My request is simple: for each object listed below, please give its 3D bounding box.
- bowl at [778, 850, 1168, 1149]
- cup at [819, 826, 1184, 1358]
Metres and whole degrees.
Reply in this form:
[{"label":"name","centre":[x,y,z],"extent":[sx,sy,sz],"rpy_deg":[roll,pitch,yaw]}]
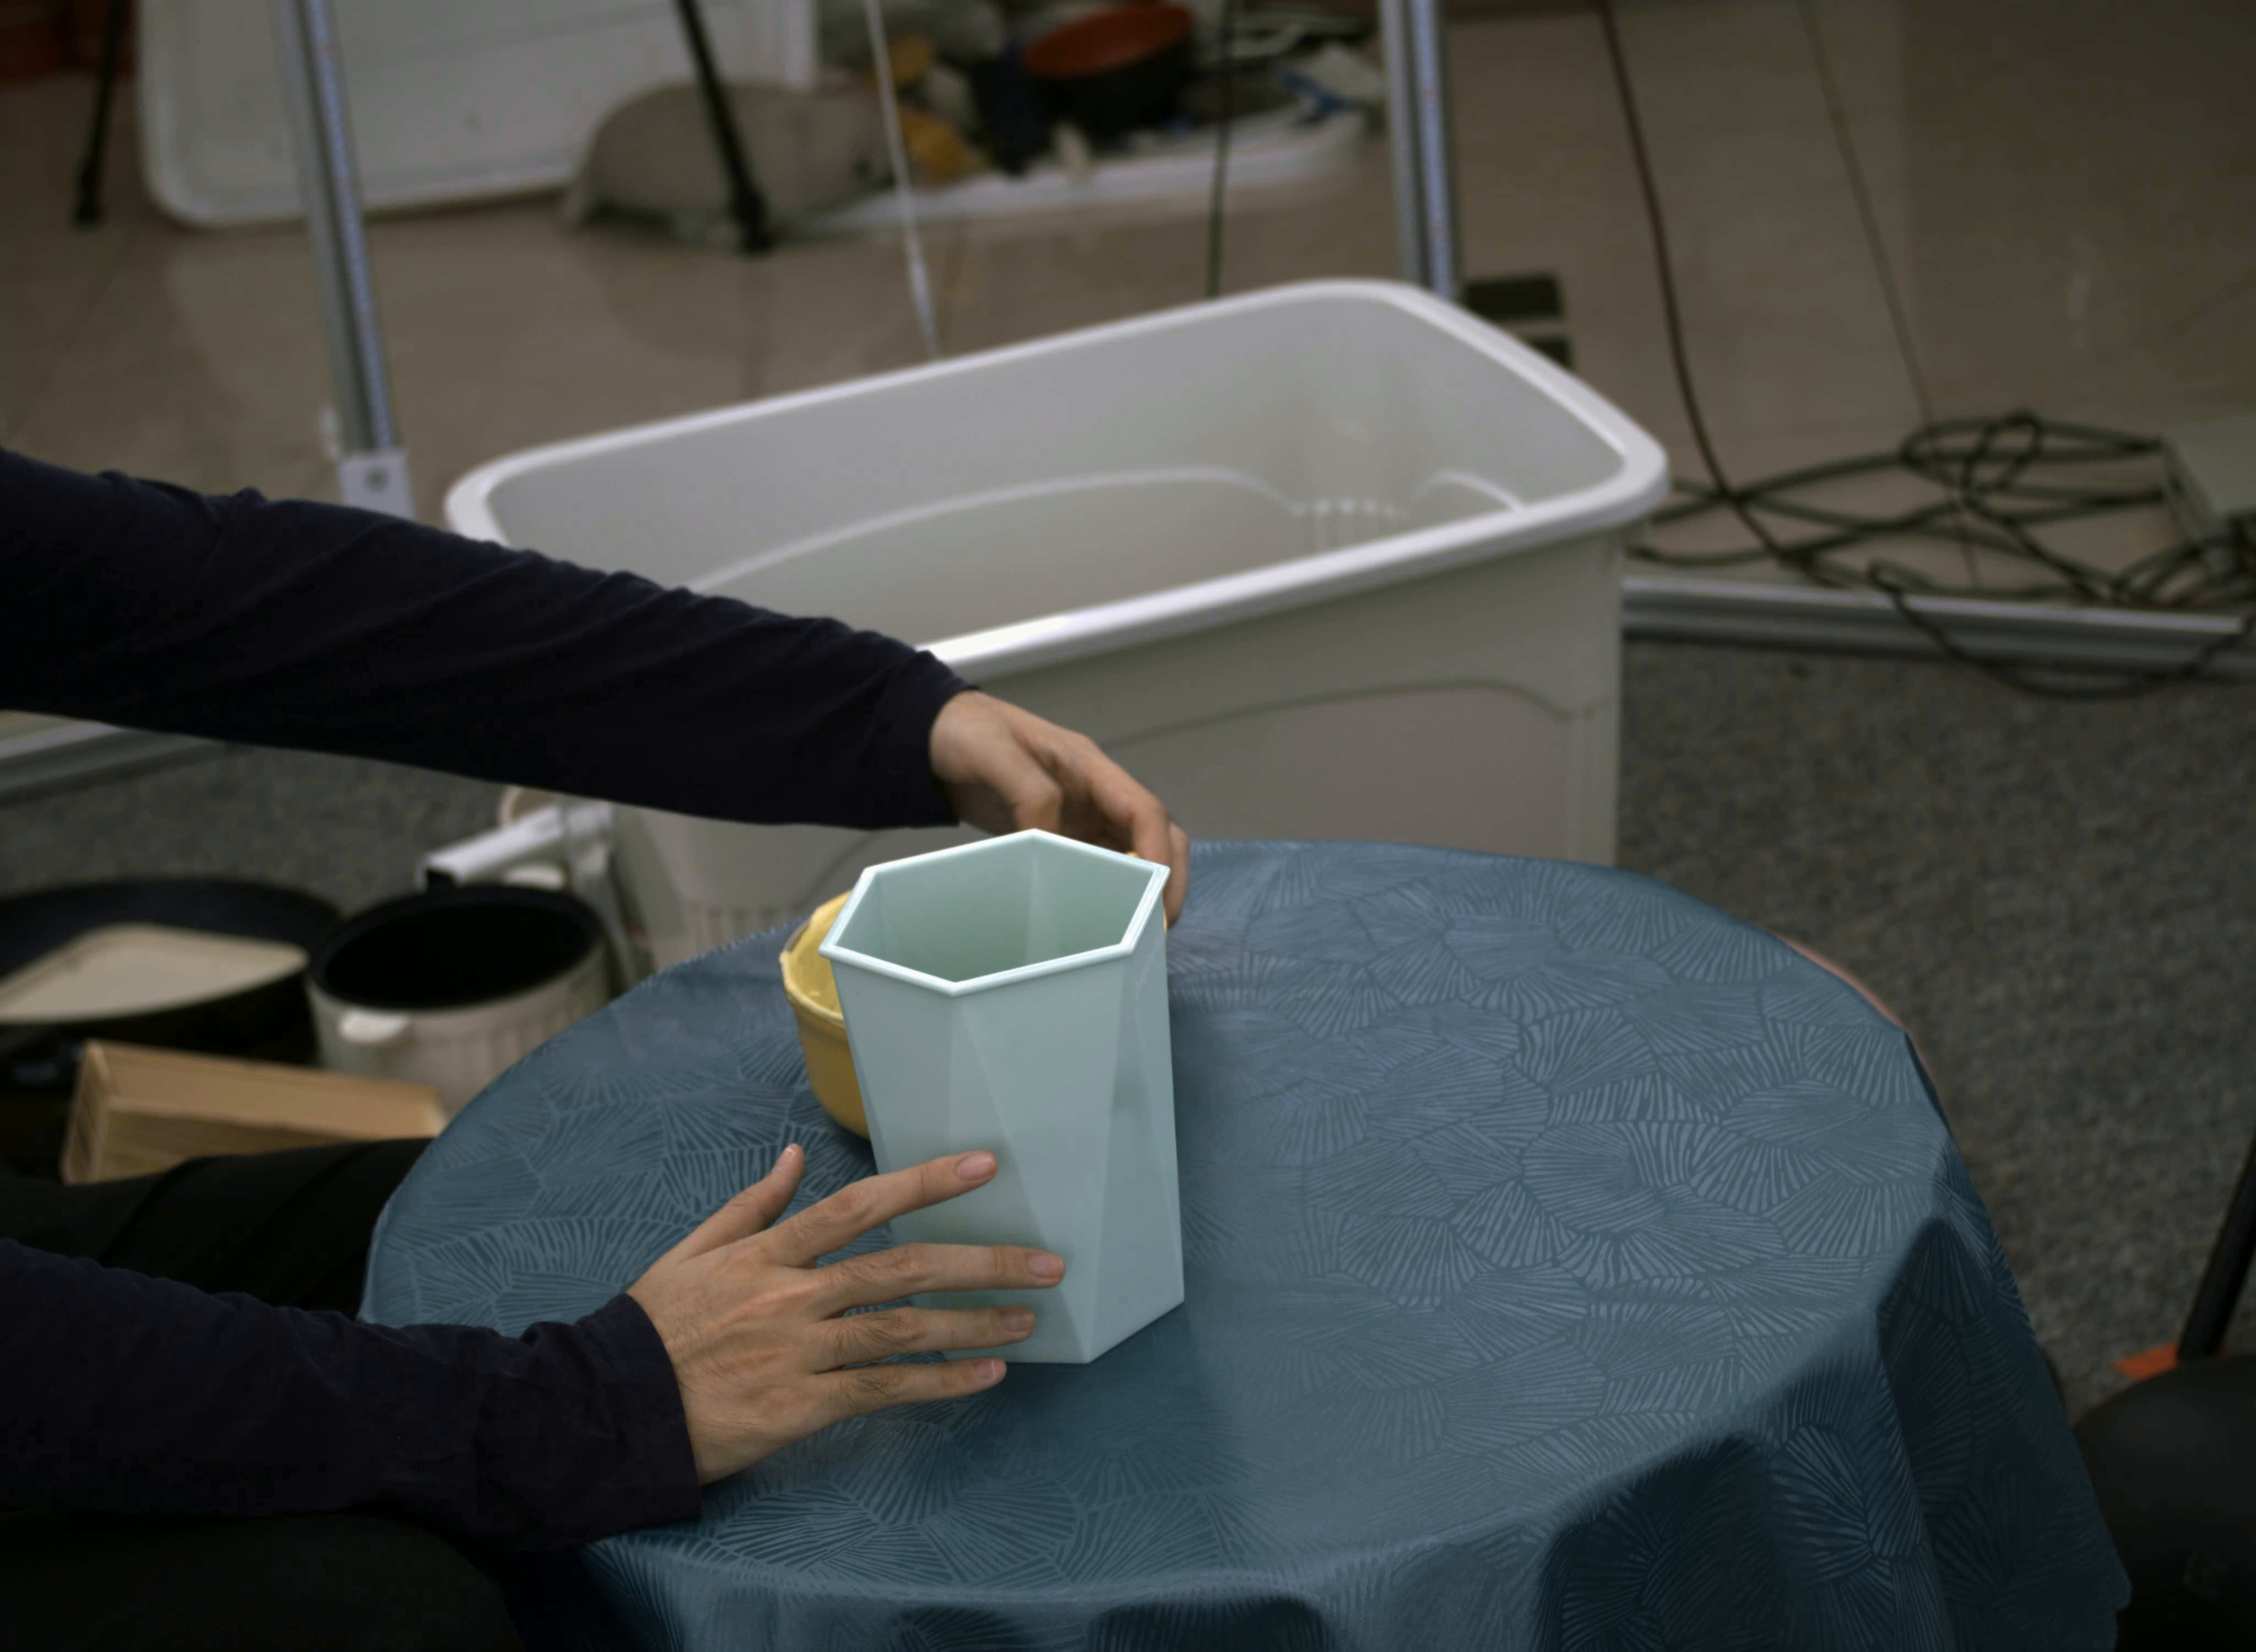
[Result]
[{"label":"bowl","centre":[-0.050,0.069,2.231],"extent":[0.152,0.075,0.177],"rpy_deg":[7,29,29]},{"label":"cup","centre":[-0.038,0.099,2.045],"extent":[0.115,0.165,0.129],"rpy_deg":[-2,25,12]}]
